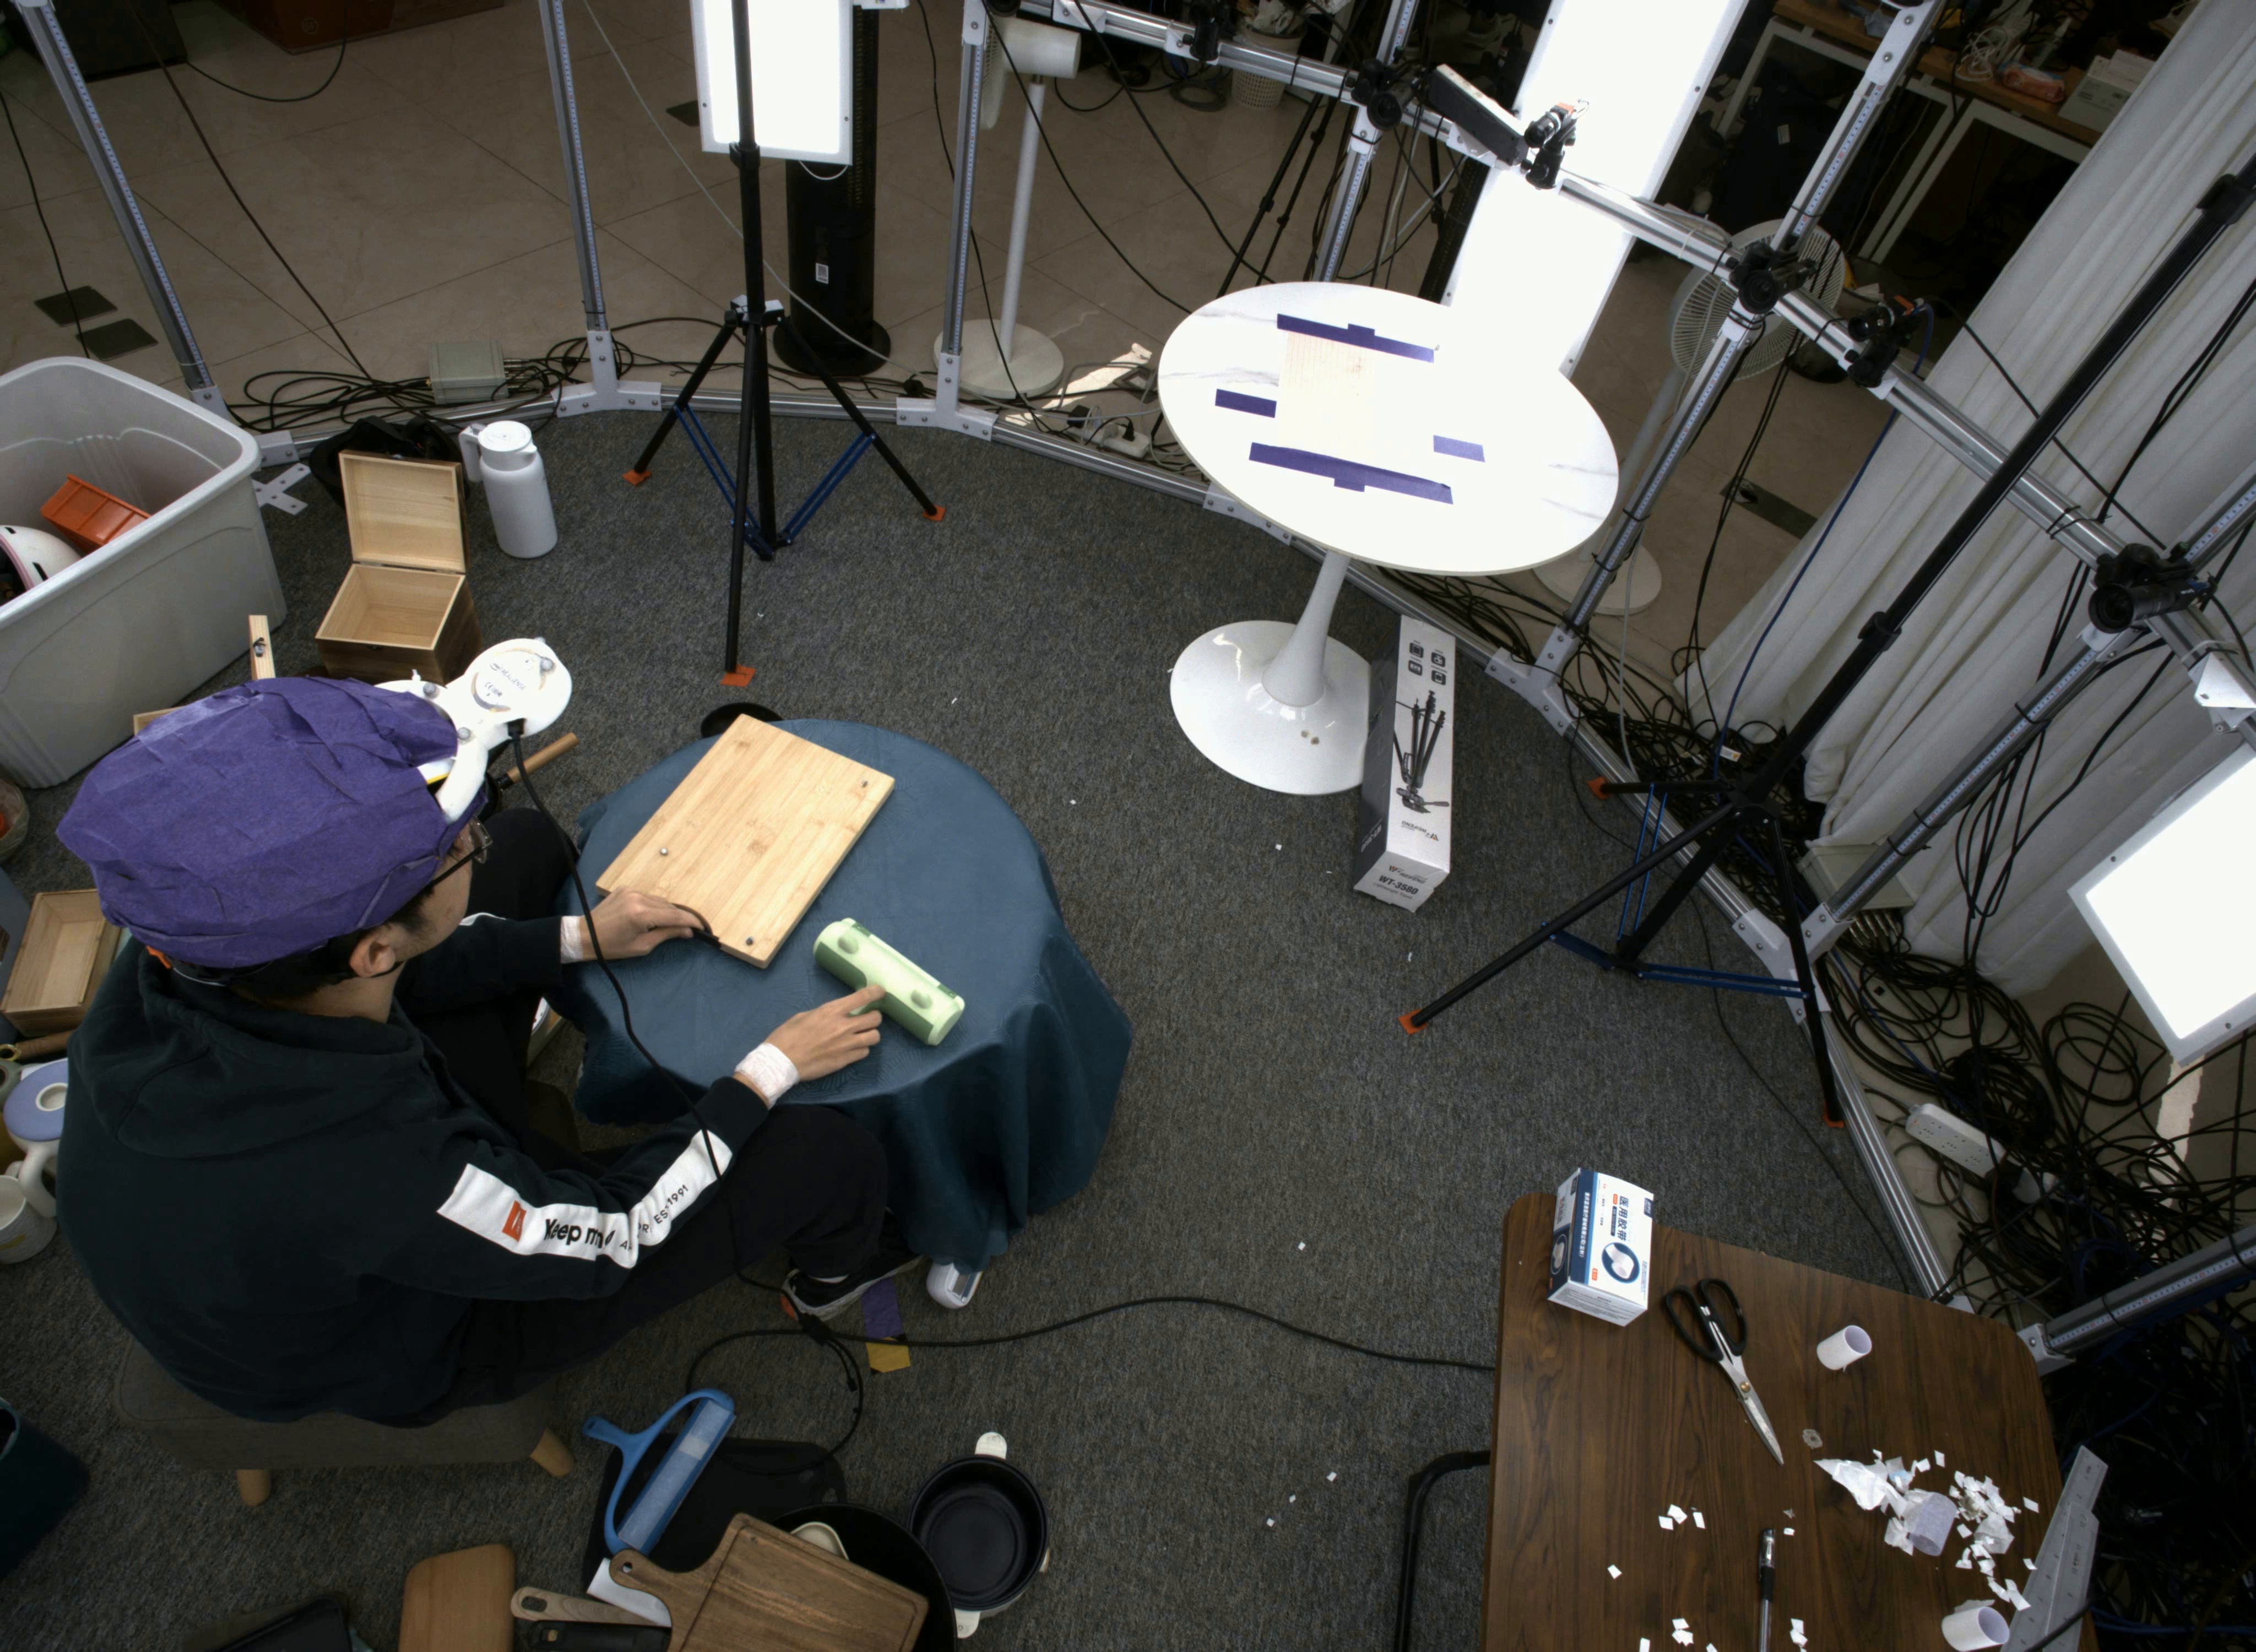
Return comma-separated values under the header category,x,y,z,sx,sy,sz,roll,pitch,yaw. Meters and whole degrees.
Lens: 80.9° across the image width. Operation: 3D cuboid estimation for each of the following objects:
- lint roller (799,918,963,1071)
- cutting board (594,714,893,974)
category,x,y,z,sx,sy,sz,roll,pitch,yaw
lint roller,-0.324,0.211,1.547,0.195,0.084,0.183,34,47,12
cutting board,-0.493,0.012,1.687,0.248,0.024,0.346,23,50,3
